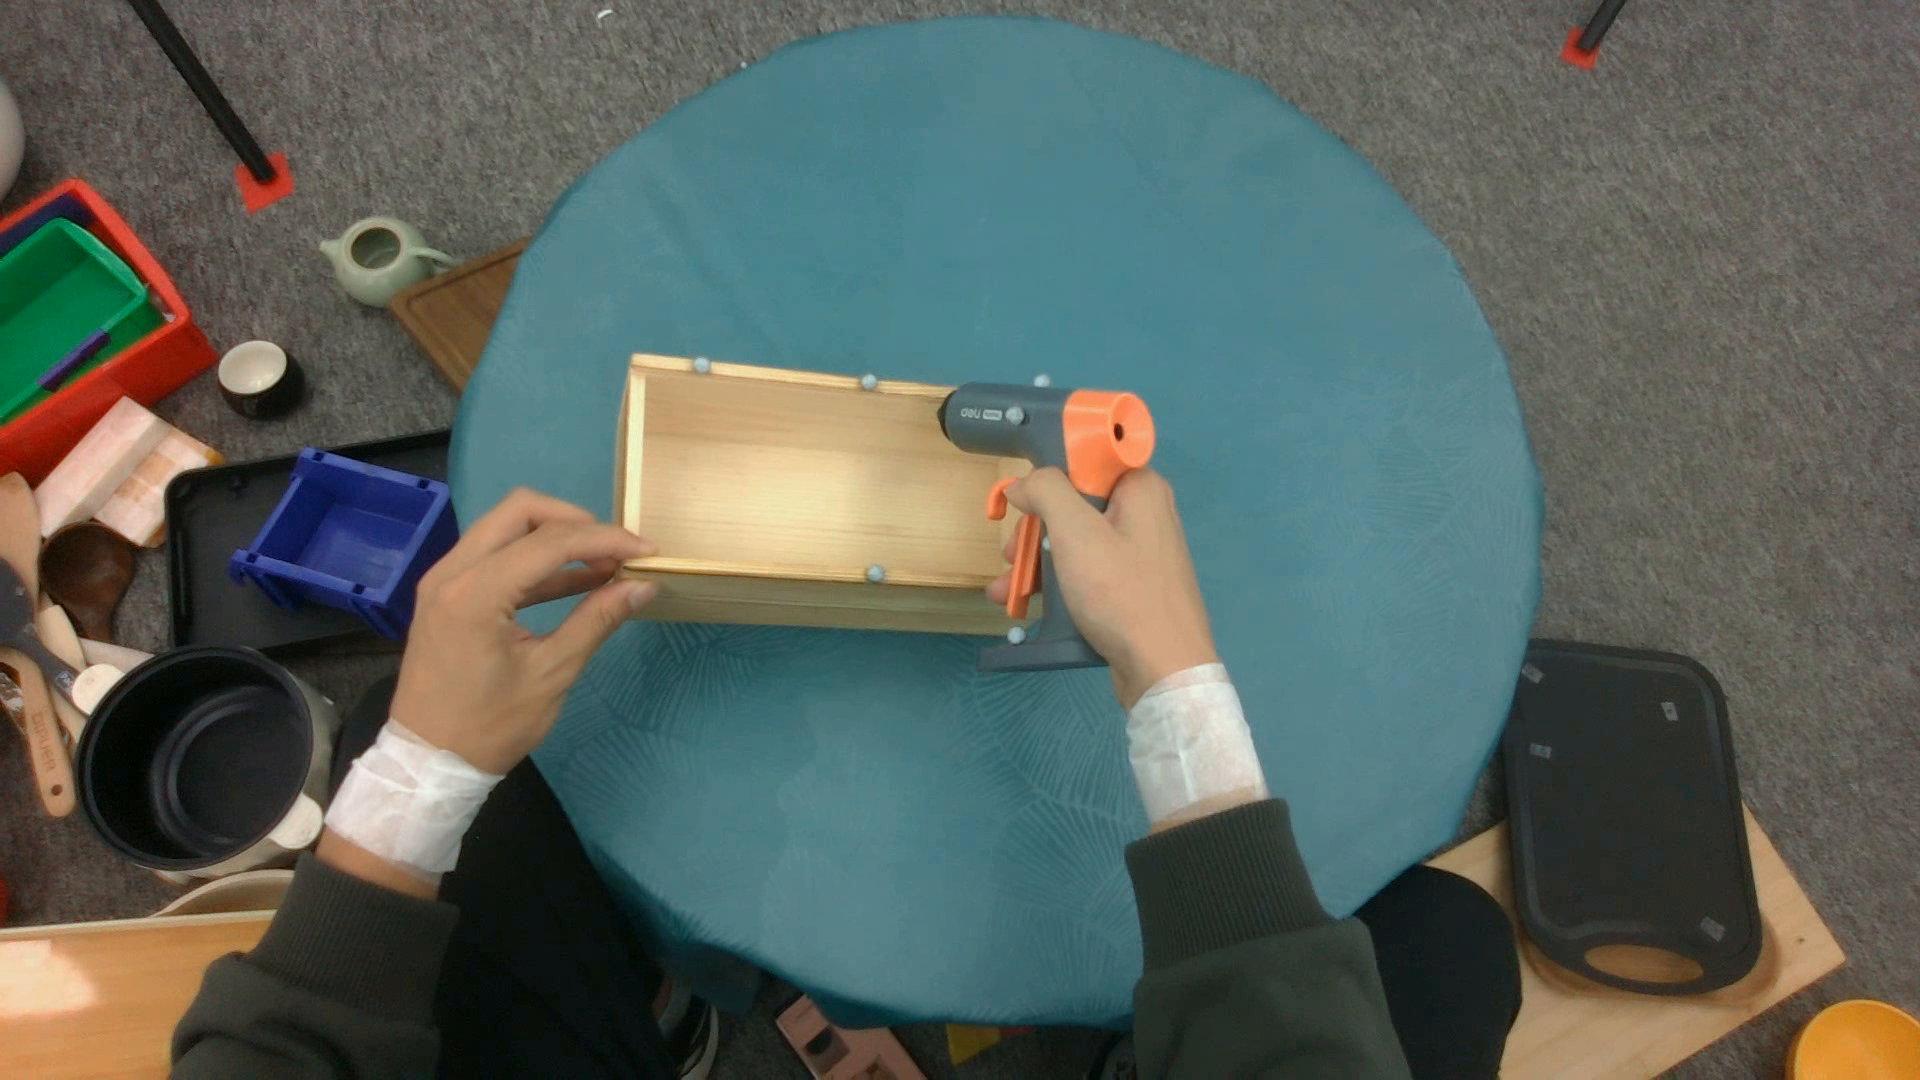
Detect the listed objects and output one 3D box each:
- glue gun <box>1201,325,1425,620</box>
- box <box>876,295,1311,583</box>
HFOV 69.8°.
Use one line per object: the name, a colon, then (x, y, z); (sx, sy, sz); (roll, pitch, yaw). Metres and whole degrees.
glue gun: (0.151, -0.036, 0.617); (0.041, 0.117, 0.140); (5, 81, -33)
box: (0.069, -0.047, 0.688); (0.211, 0.080, 0.108); (5, 74, -7)
